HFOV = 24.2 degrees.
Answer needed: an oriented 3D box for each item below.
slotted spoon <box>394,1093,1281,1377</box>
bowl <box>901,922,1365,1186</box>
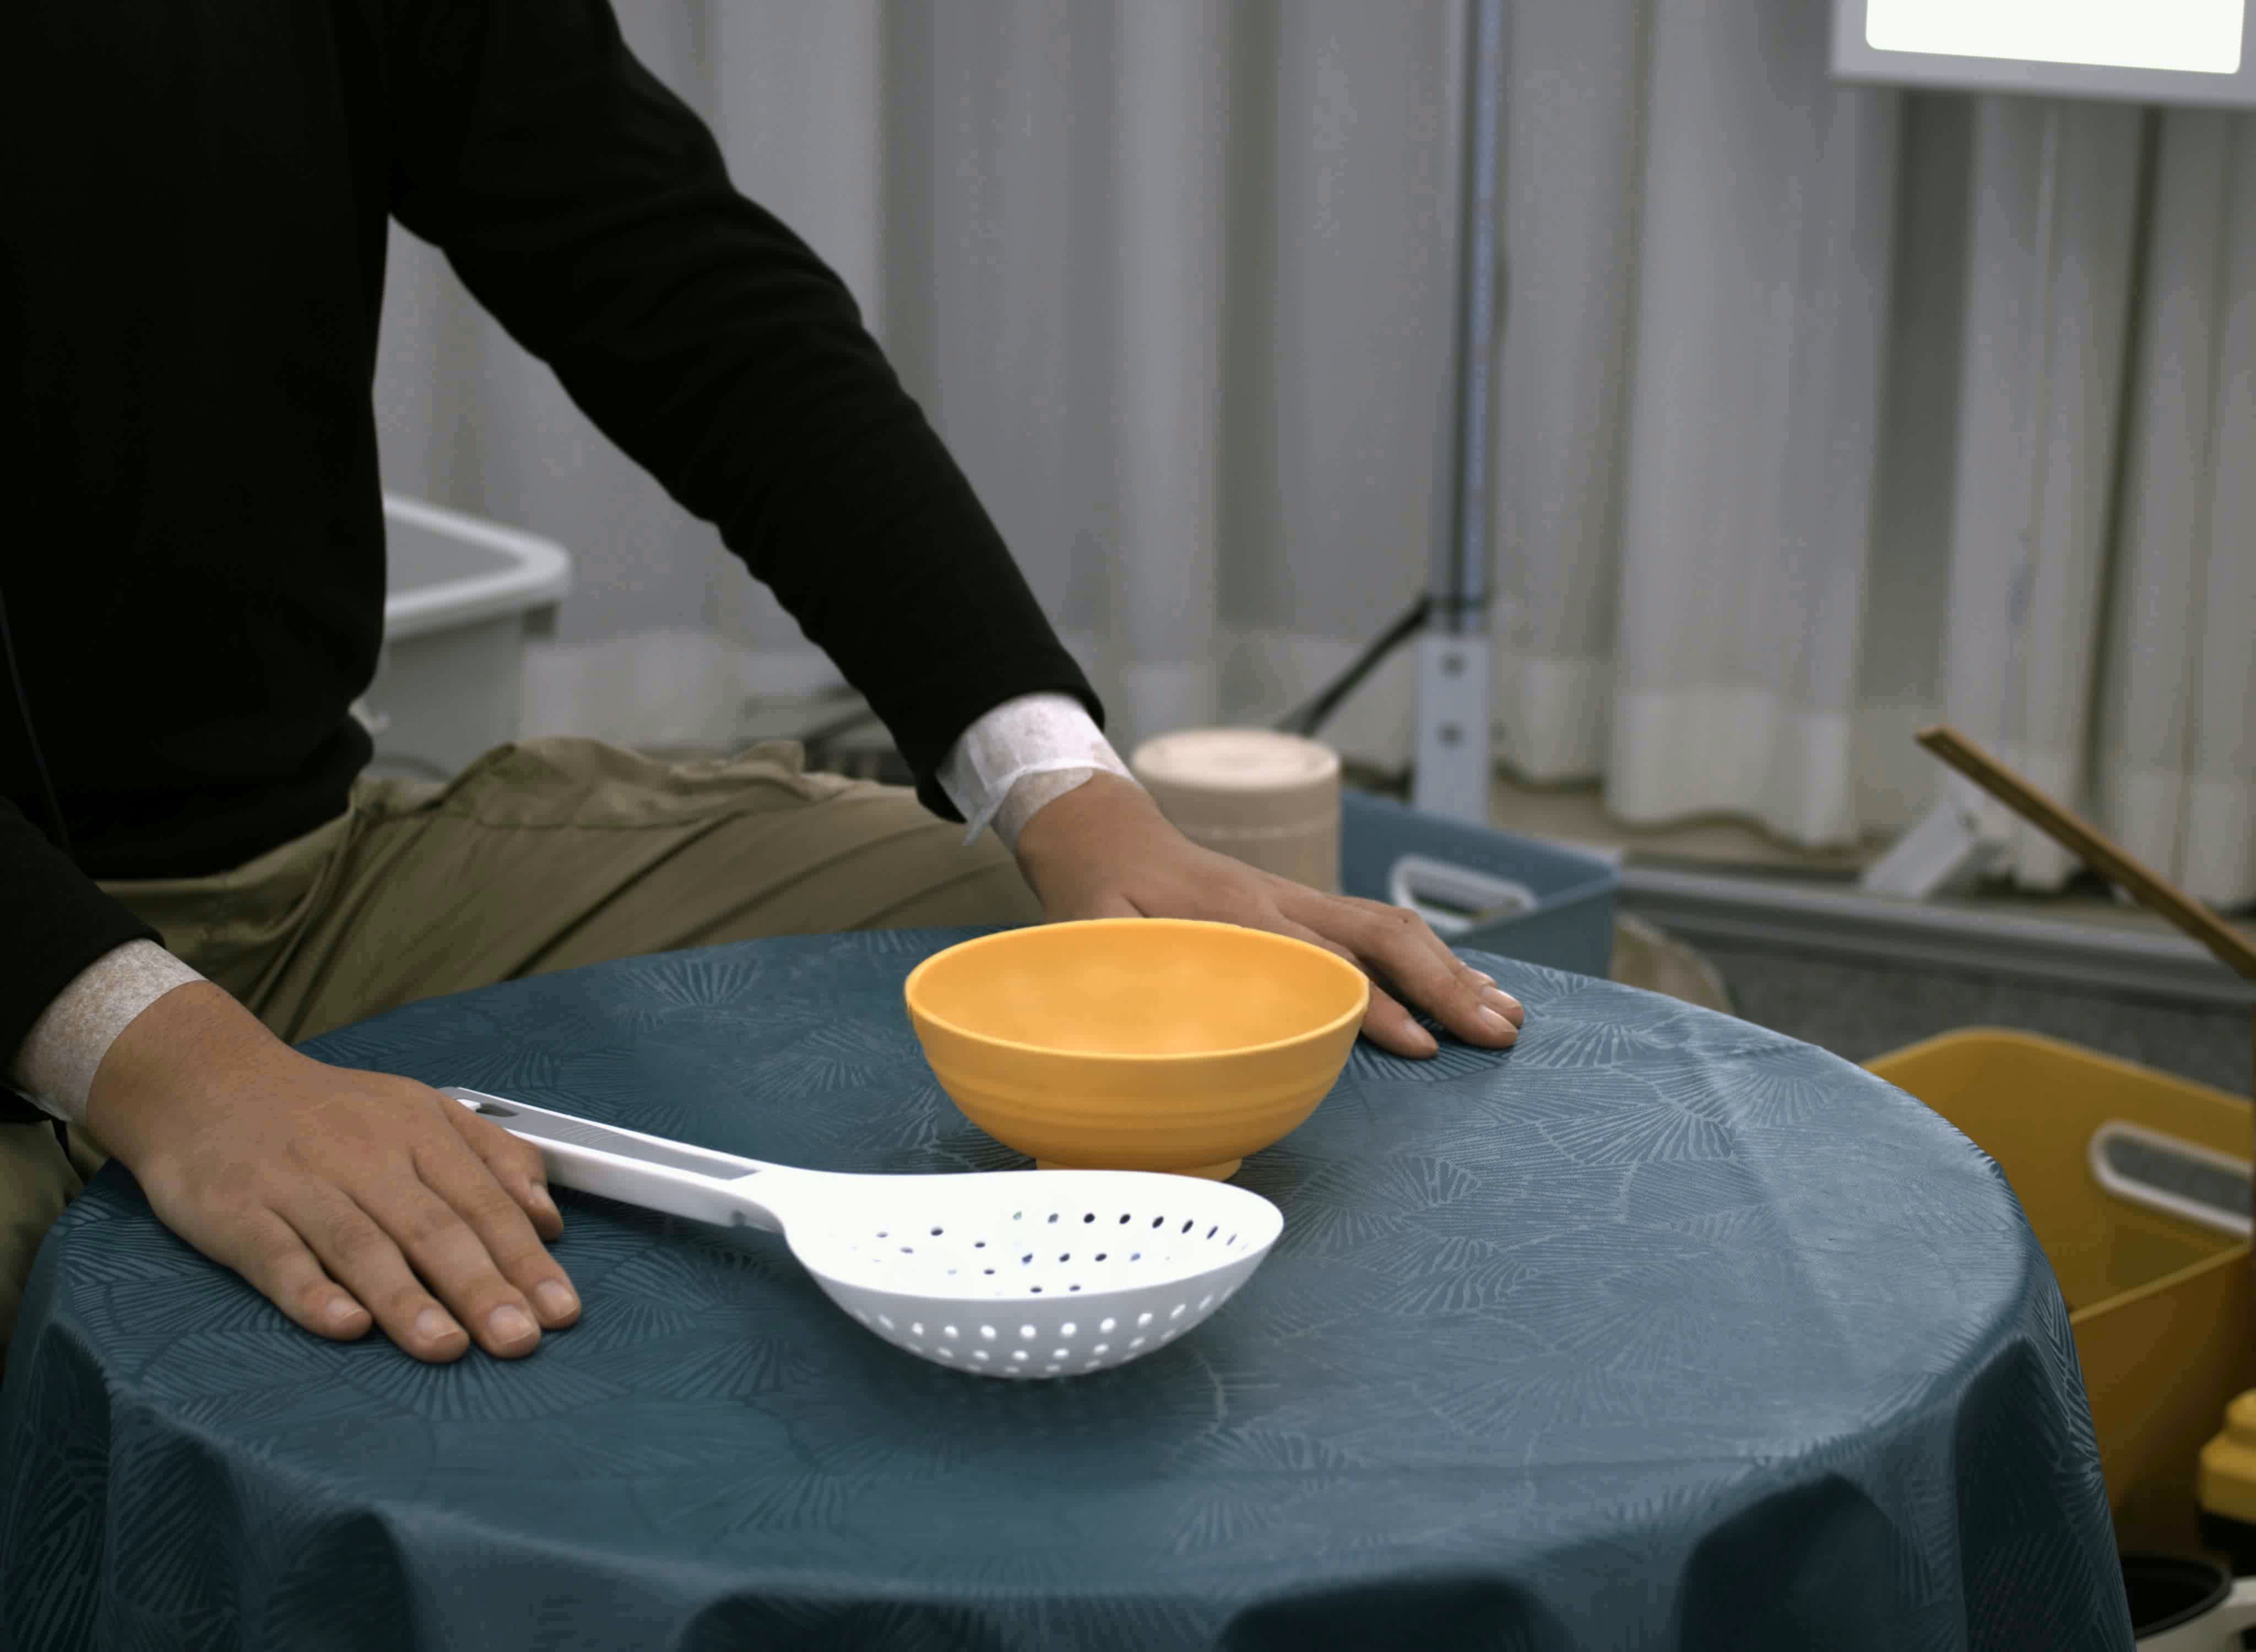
[{"bbox_3d":[-0.101,0.109,1.542,0.345,0.046,0.137,14,19,42],"label":"slotted spoon"},{"bbox_3d":[0.001,0.078,1.639,0.145,0.060,0.144,3,15,0],"label":"bowl"}]
